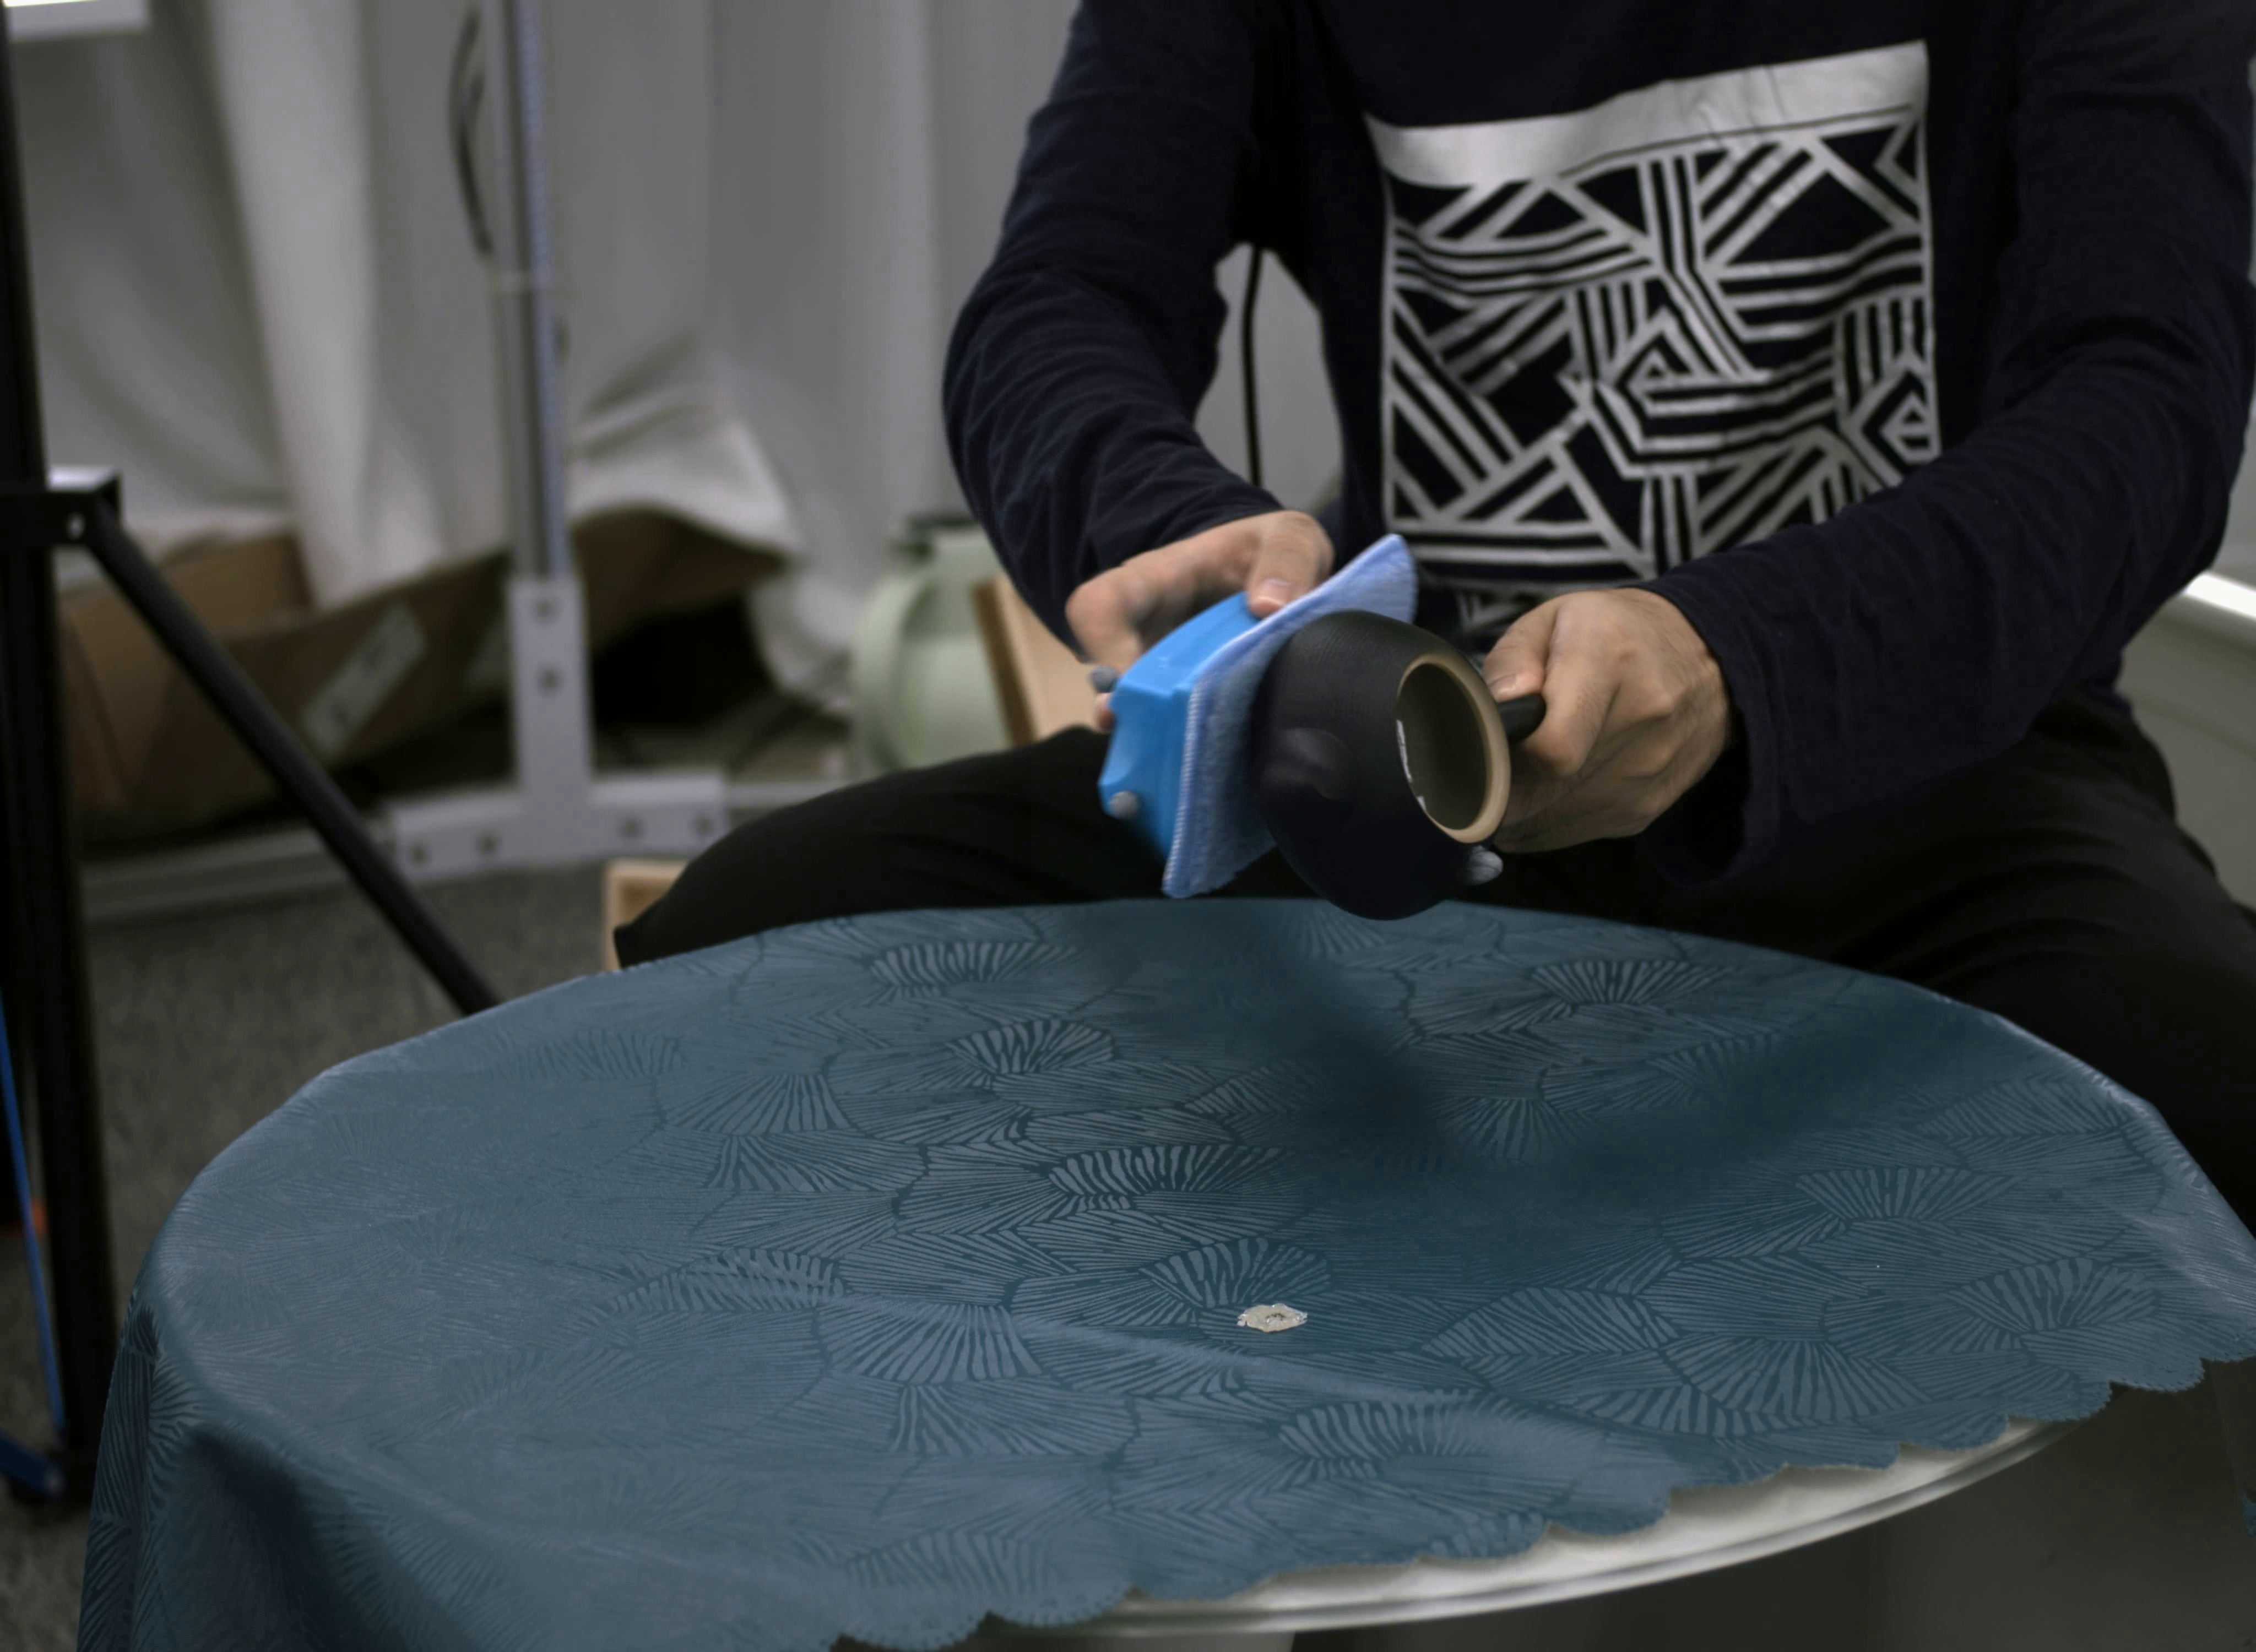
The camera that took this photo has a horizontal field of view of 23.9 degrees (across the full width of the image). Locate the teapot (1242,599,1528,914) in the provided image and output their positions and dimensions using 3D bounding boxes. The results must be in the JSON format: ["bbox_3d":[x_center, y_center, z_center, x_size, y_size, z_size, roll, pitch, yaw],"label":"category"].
[{"bbox_3d":[0.069,-0.020,1.541,0.054,0.091,0.130,-1,9,34],"label":"teapot"}]

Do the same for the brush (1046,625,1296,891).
[{"bbox_3d":[0.011,-0.026,1.591,0.056,0.084,0.142,25,8,9],"label":"brush"}]
